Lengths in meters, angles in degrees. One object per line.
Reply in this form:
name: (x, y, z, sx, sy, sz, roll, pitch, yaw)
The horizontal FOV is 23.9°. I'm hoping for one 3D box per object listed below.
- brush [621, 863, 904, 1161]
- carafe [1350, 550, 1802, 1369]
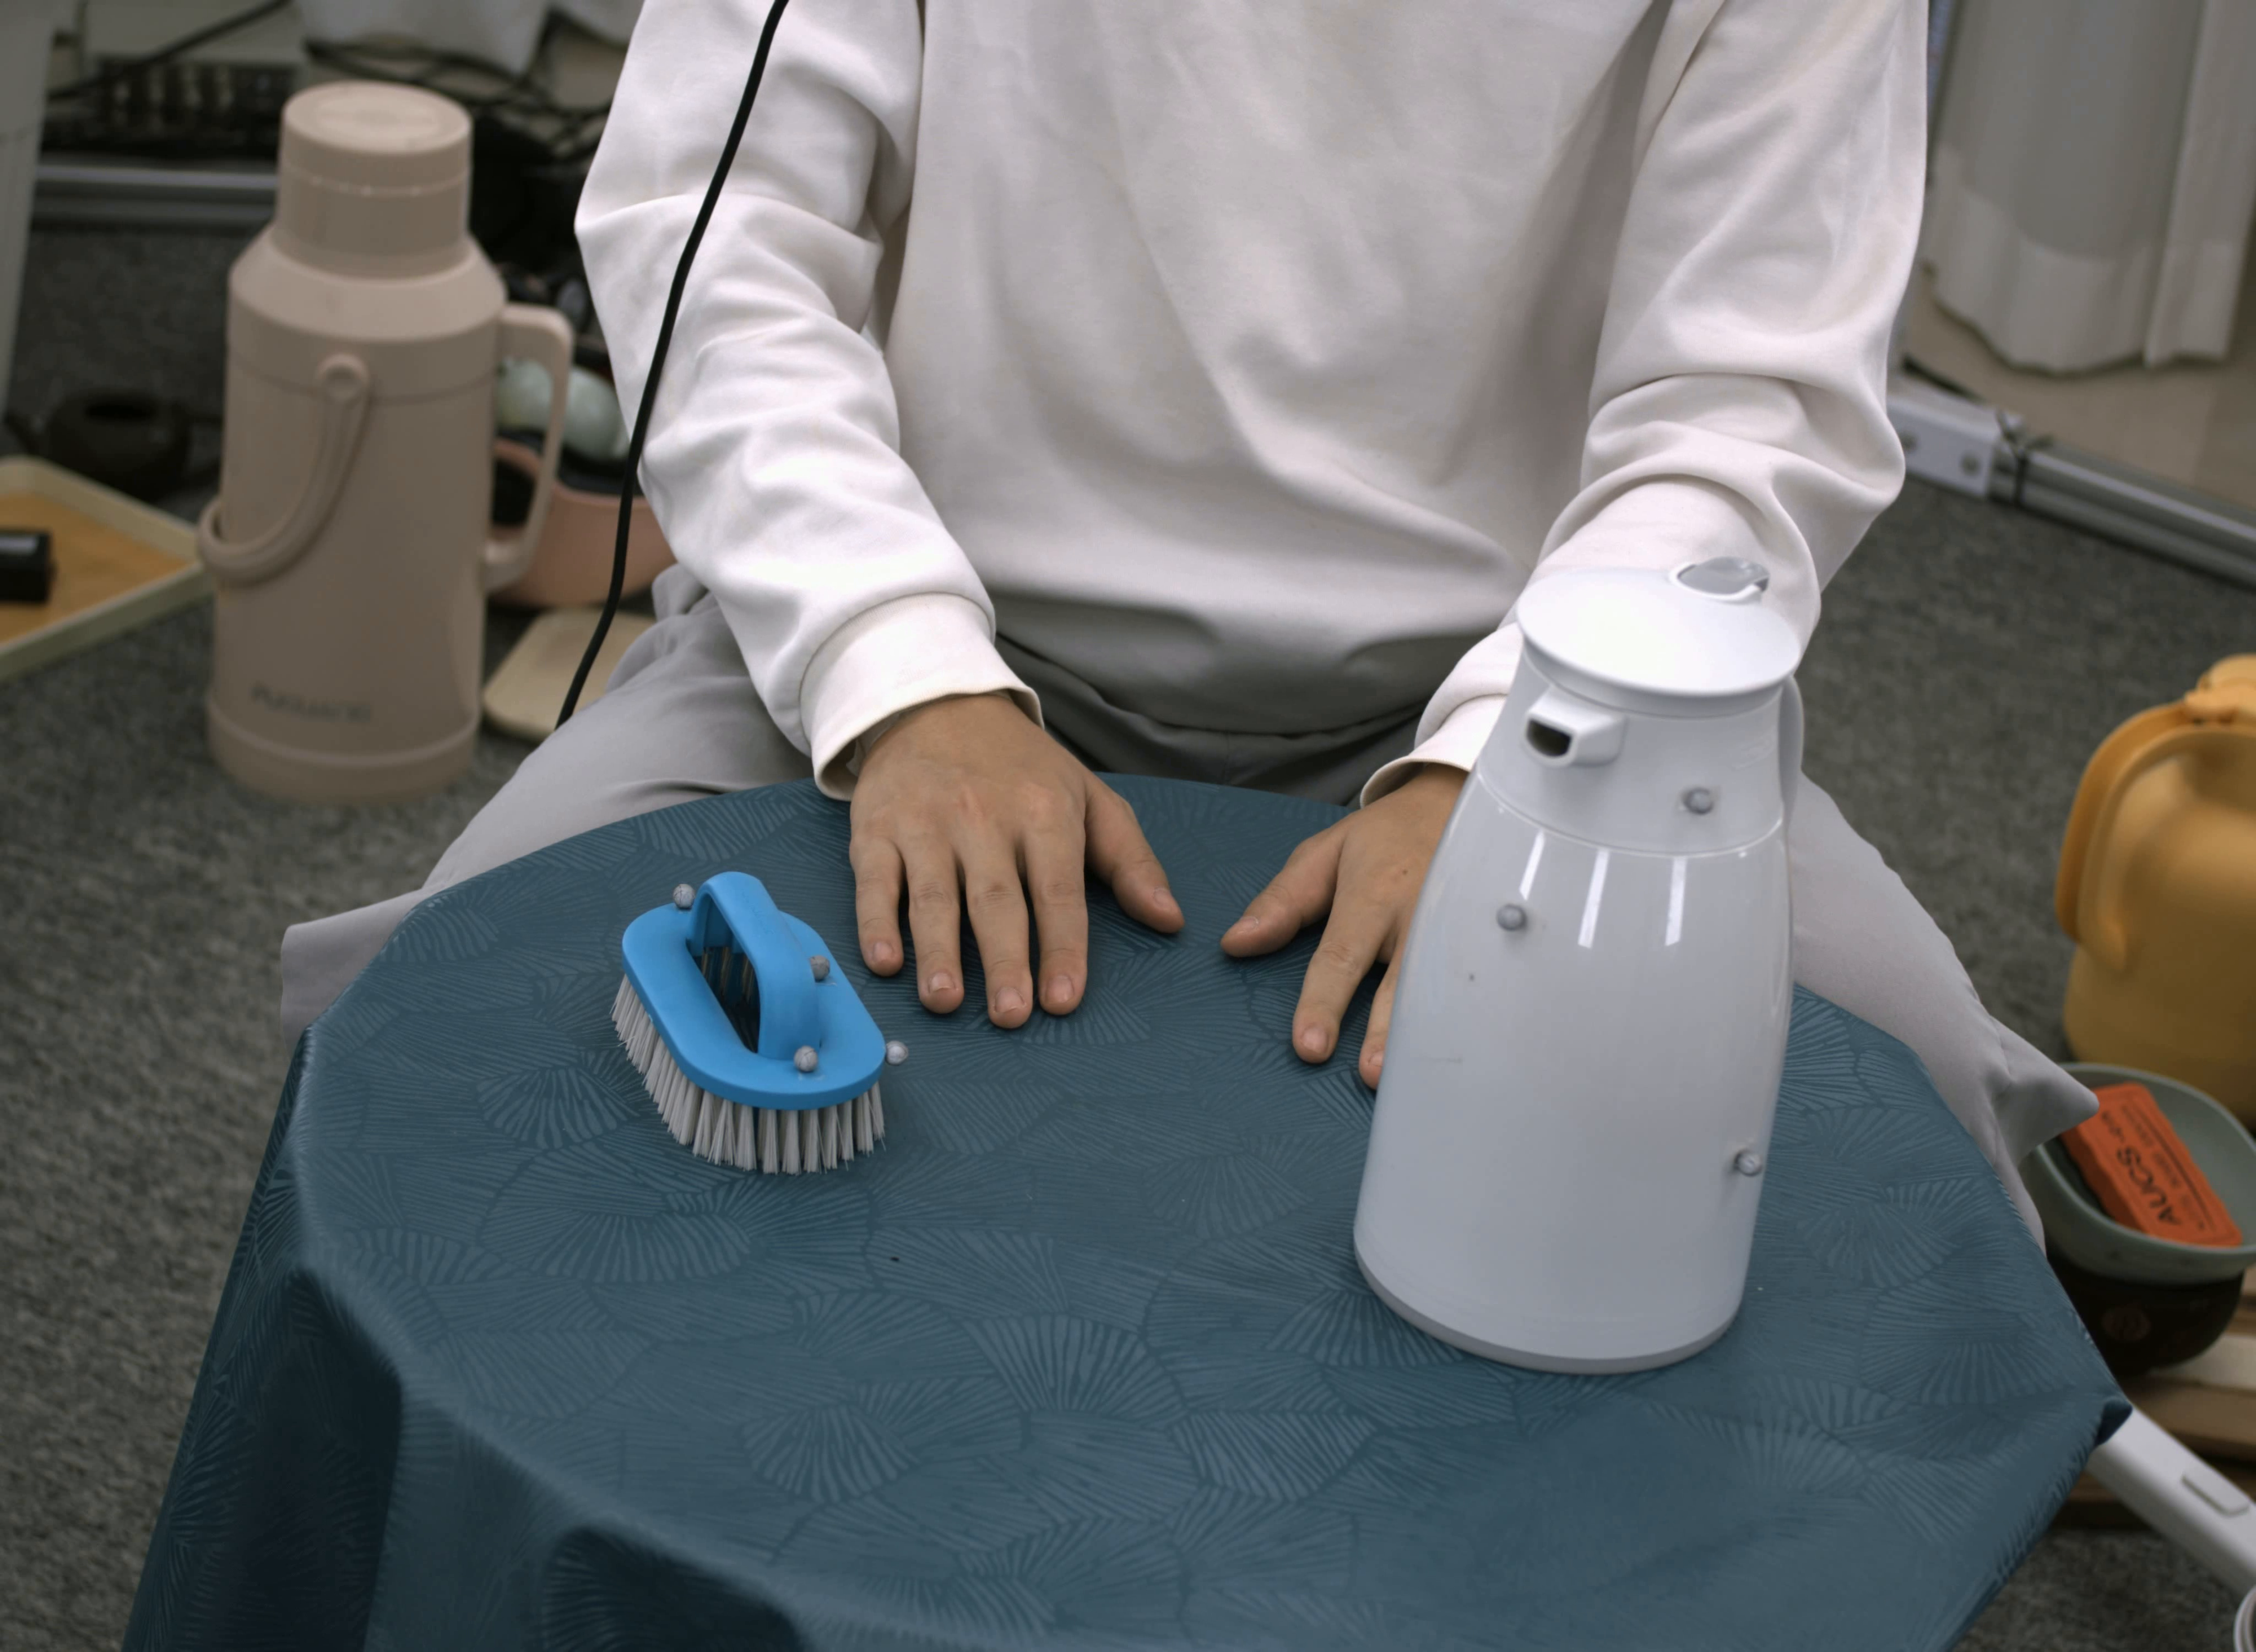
brush: (-0.128, 0.055, 1.838, 0.084, 0.063, 0.143, -7, 29, -17)
carafe: (0.164, 0.032, 1.750, 0.133, 0.248, 0.167, 22, 29, 28)
